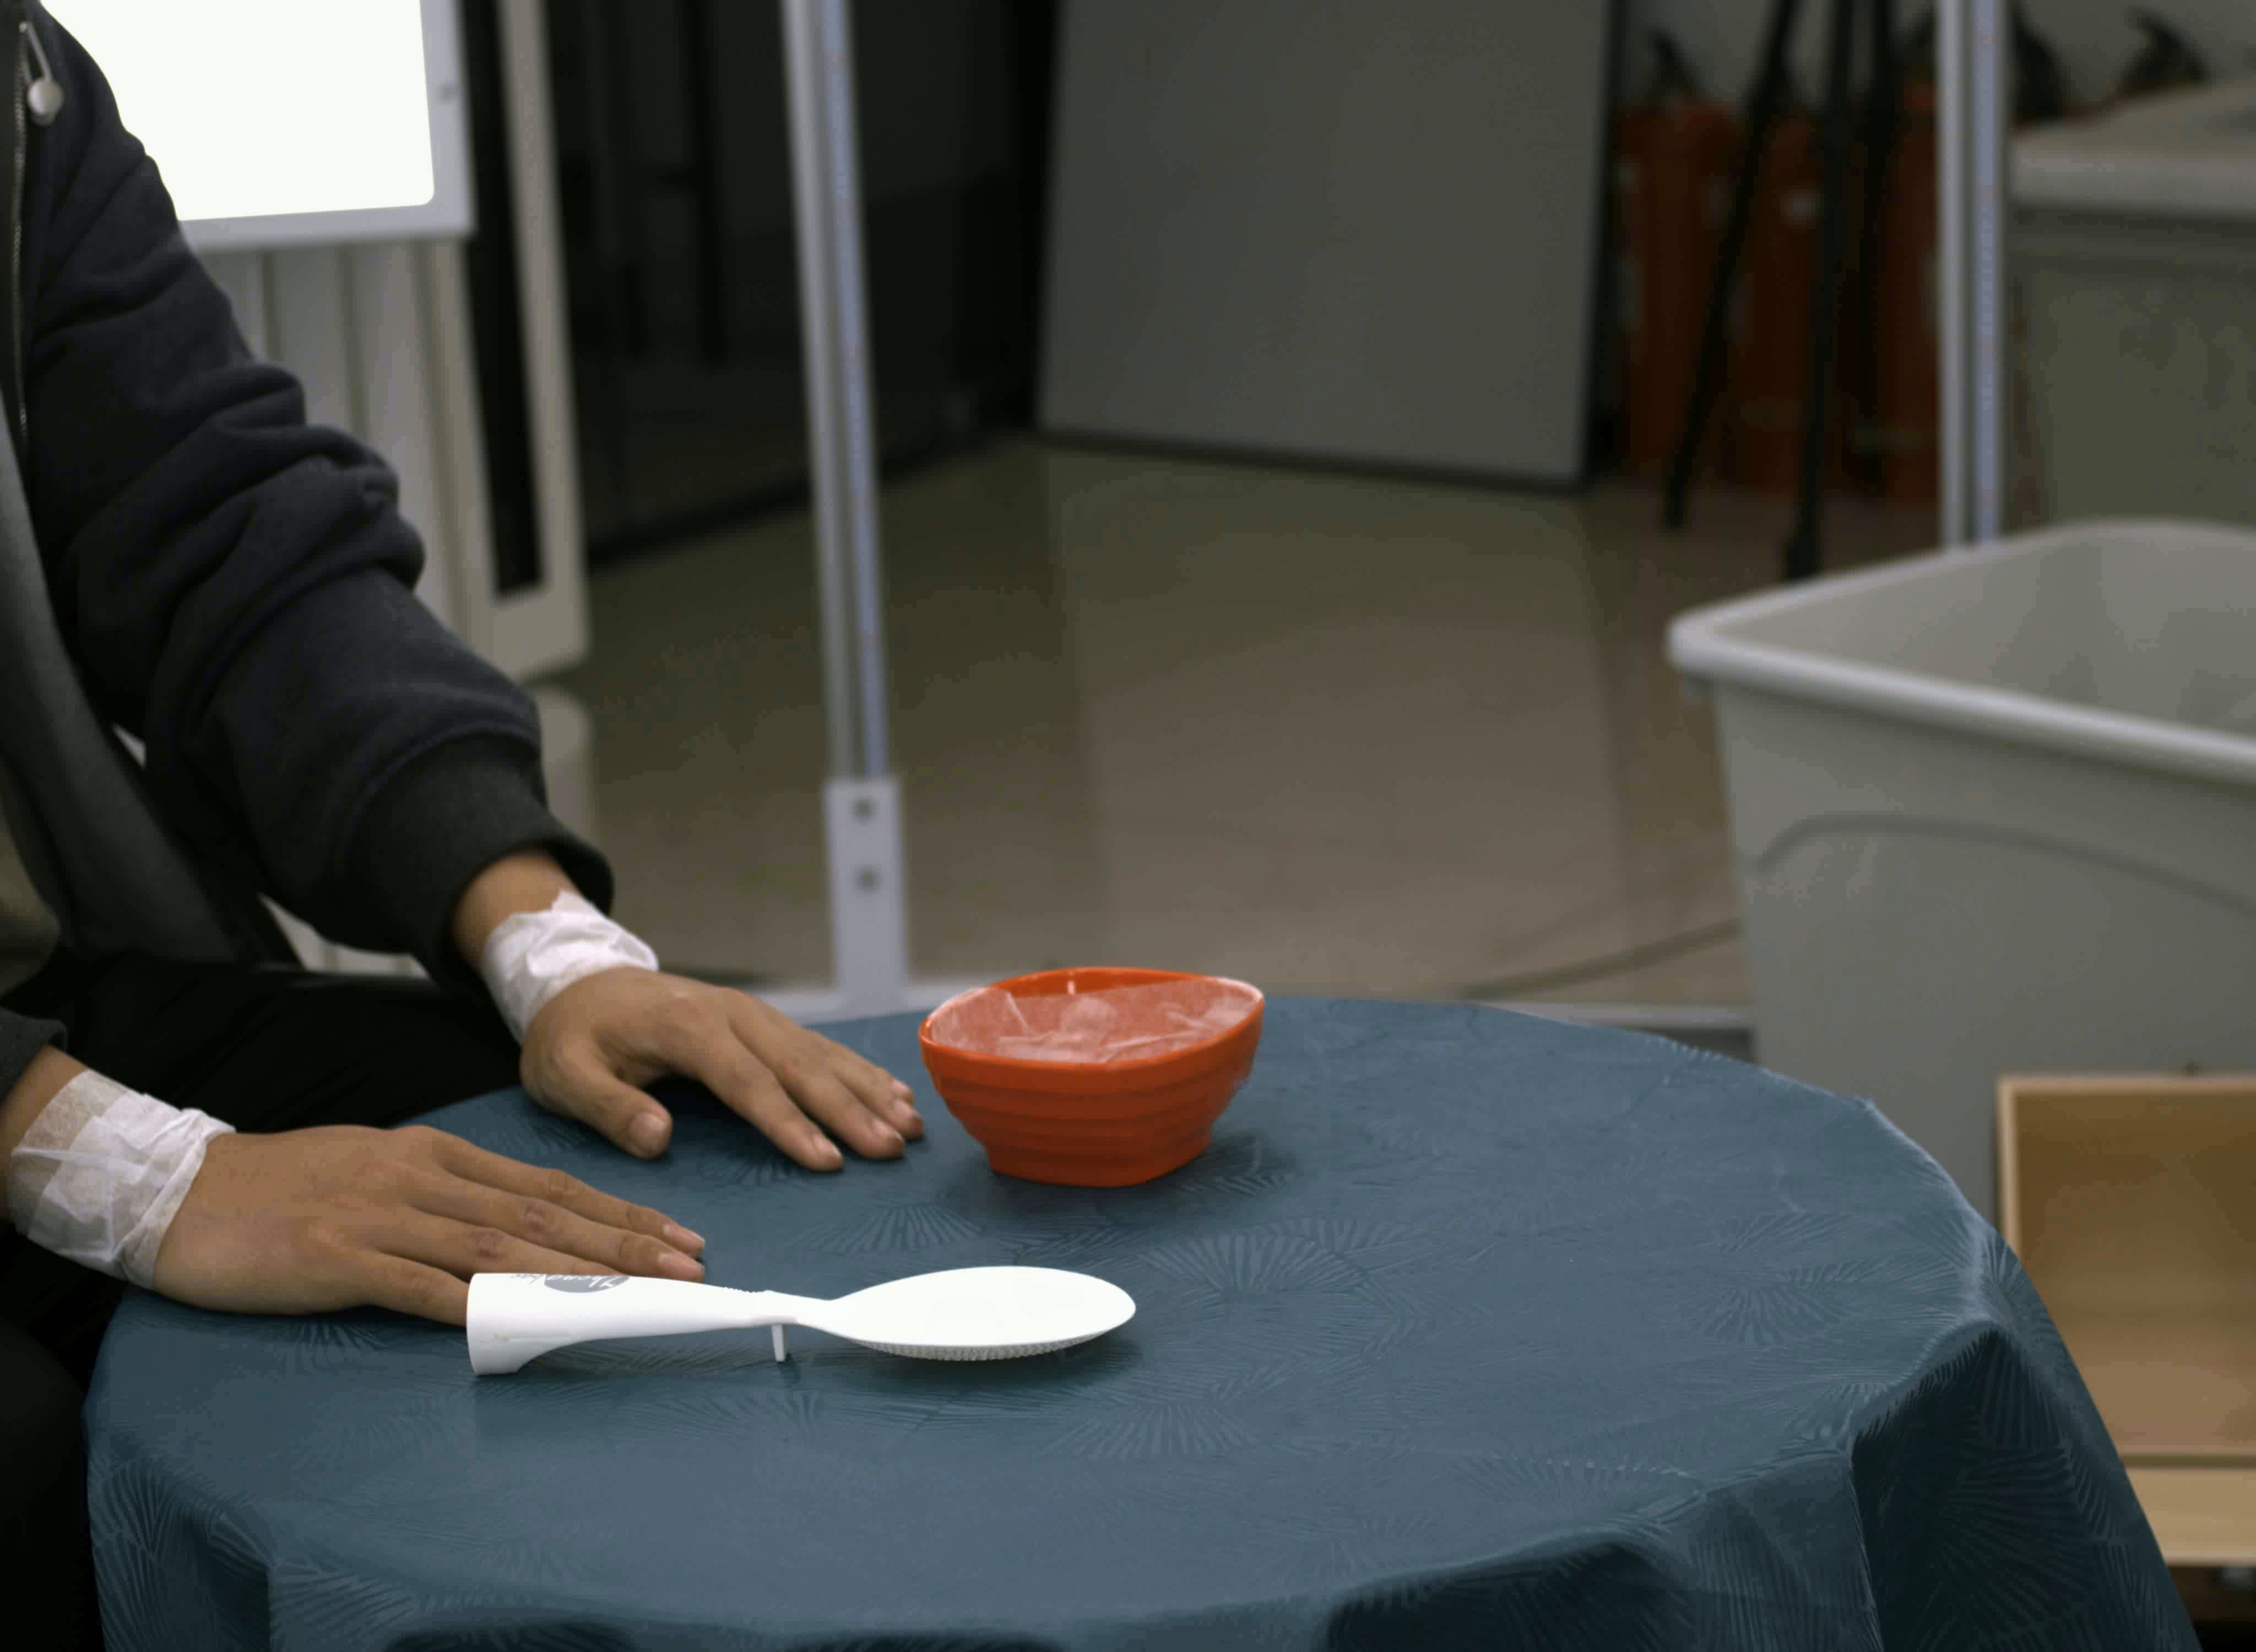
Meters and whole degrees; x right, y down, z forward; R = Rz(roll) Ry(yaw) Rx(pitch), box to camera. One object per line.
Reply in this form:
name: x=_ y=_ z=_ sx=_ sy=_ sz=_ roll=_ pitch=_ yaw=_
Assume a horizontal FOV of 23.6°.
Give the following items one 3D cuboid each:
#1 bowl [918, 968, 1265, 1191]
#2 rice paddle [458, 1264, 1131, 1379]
bowl: x=-0.011 y=0.086 z=1.802 sx=0.117 sy=0.052 sz=0.119 roll=-3 pitch=14 yaw=0
rice paddle: x=-0.100 y=0.146 z=1.630 sx=0.203 sy=0.030 sz=0.069 roll=-3 pitch=15 yaw=5
